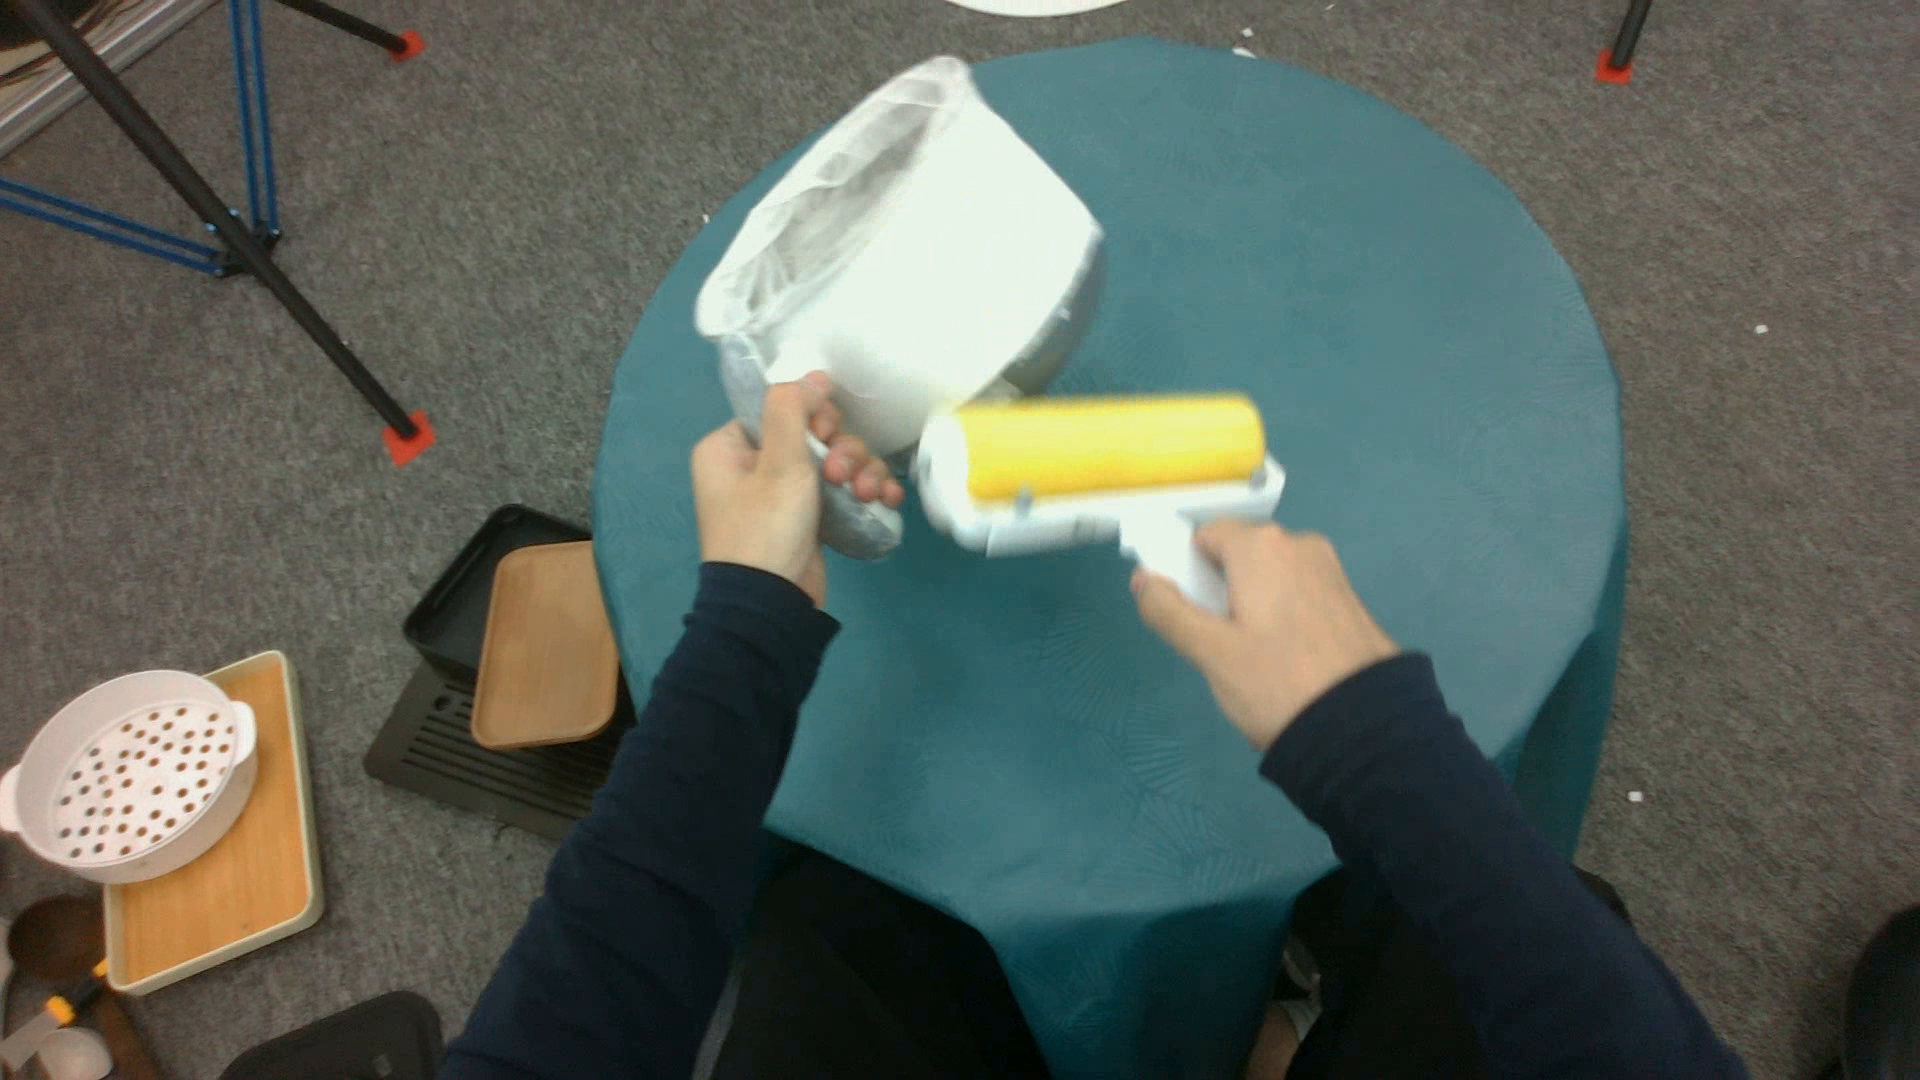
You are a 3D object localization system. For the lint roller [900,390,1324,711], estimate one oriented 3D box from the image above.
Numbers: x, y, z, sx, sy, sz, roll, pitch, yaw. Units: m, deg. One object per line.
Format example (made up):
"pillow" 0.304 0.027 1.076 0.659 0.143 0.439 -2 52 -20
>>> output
"lint roller" 0.089 -0.003 0.582 0.175 0.051 0.192 -9 33 -30

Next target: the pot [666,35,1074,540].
"pot" -0.050 -0.118 0.679 0.178 0.136 0.235 -22 37 47
